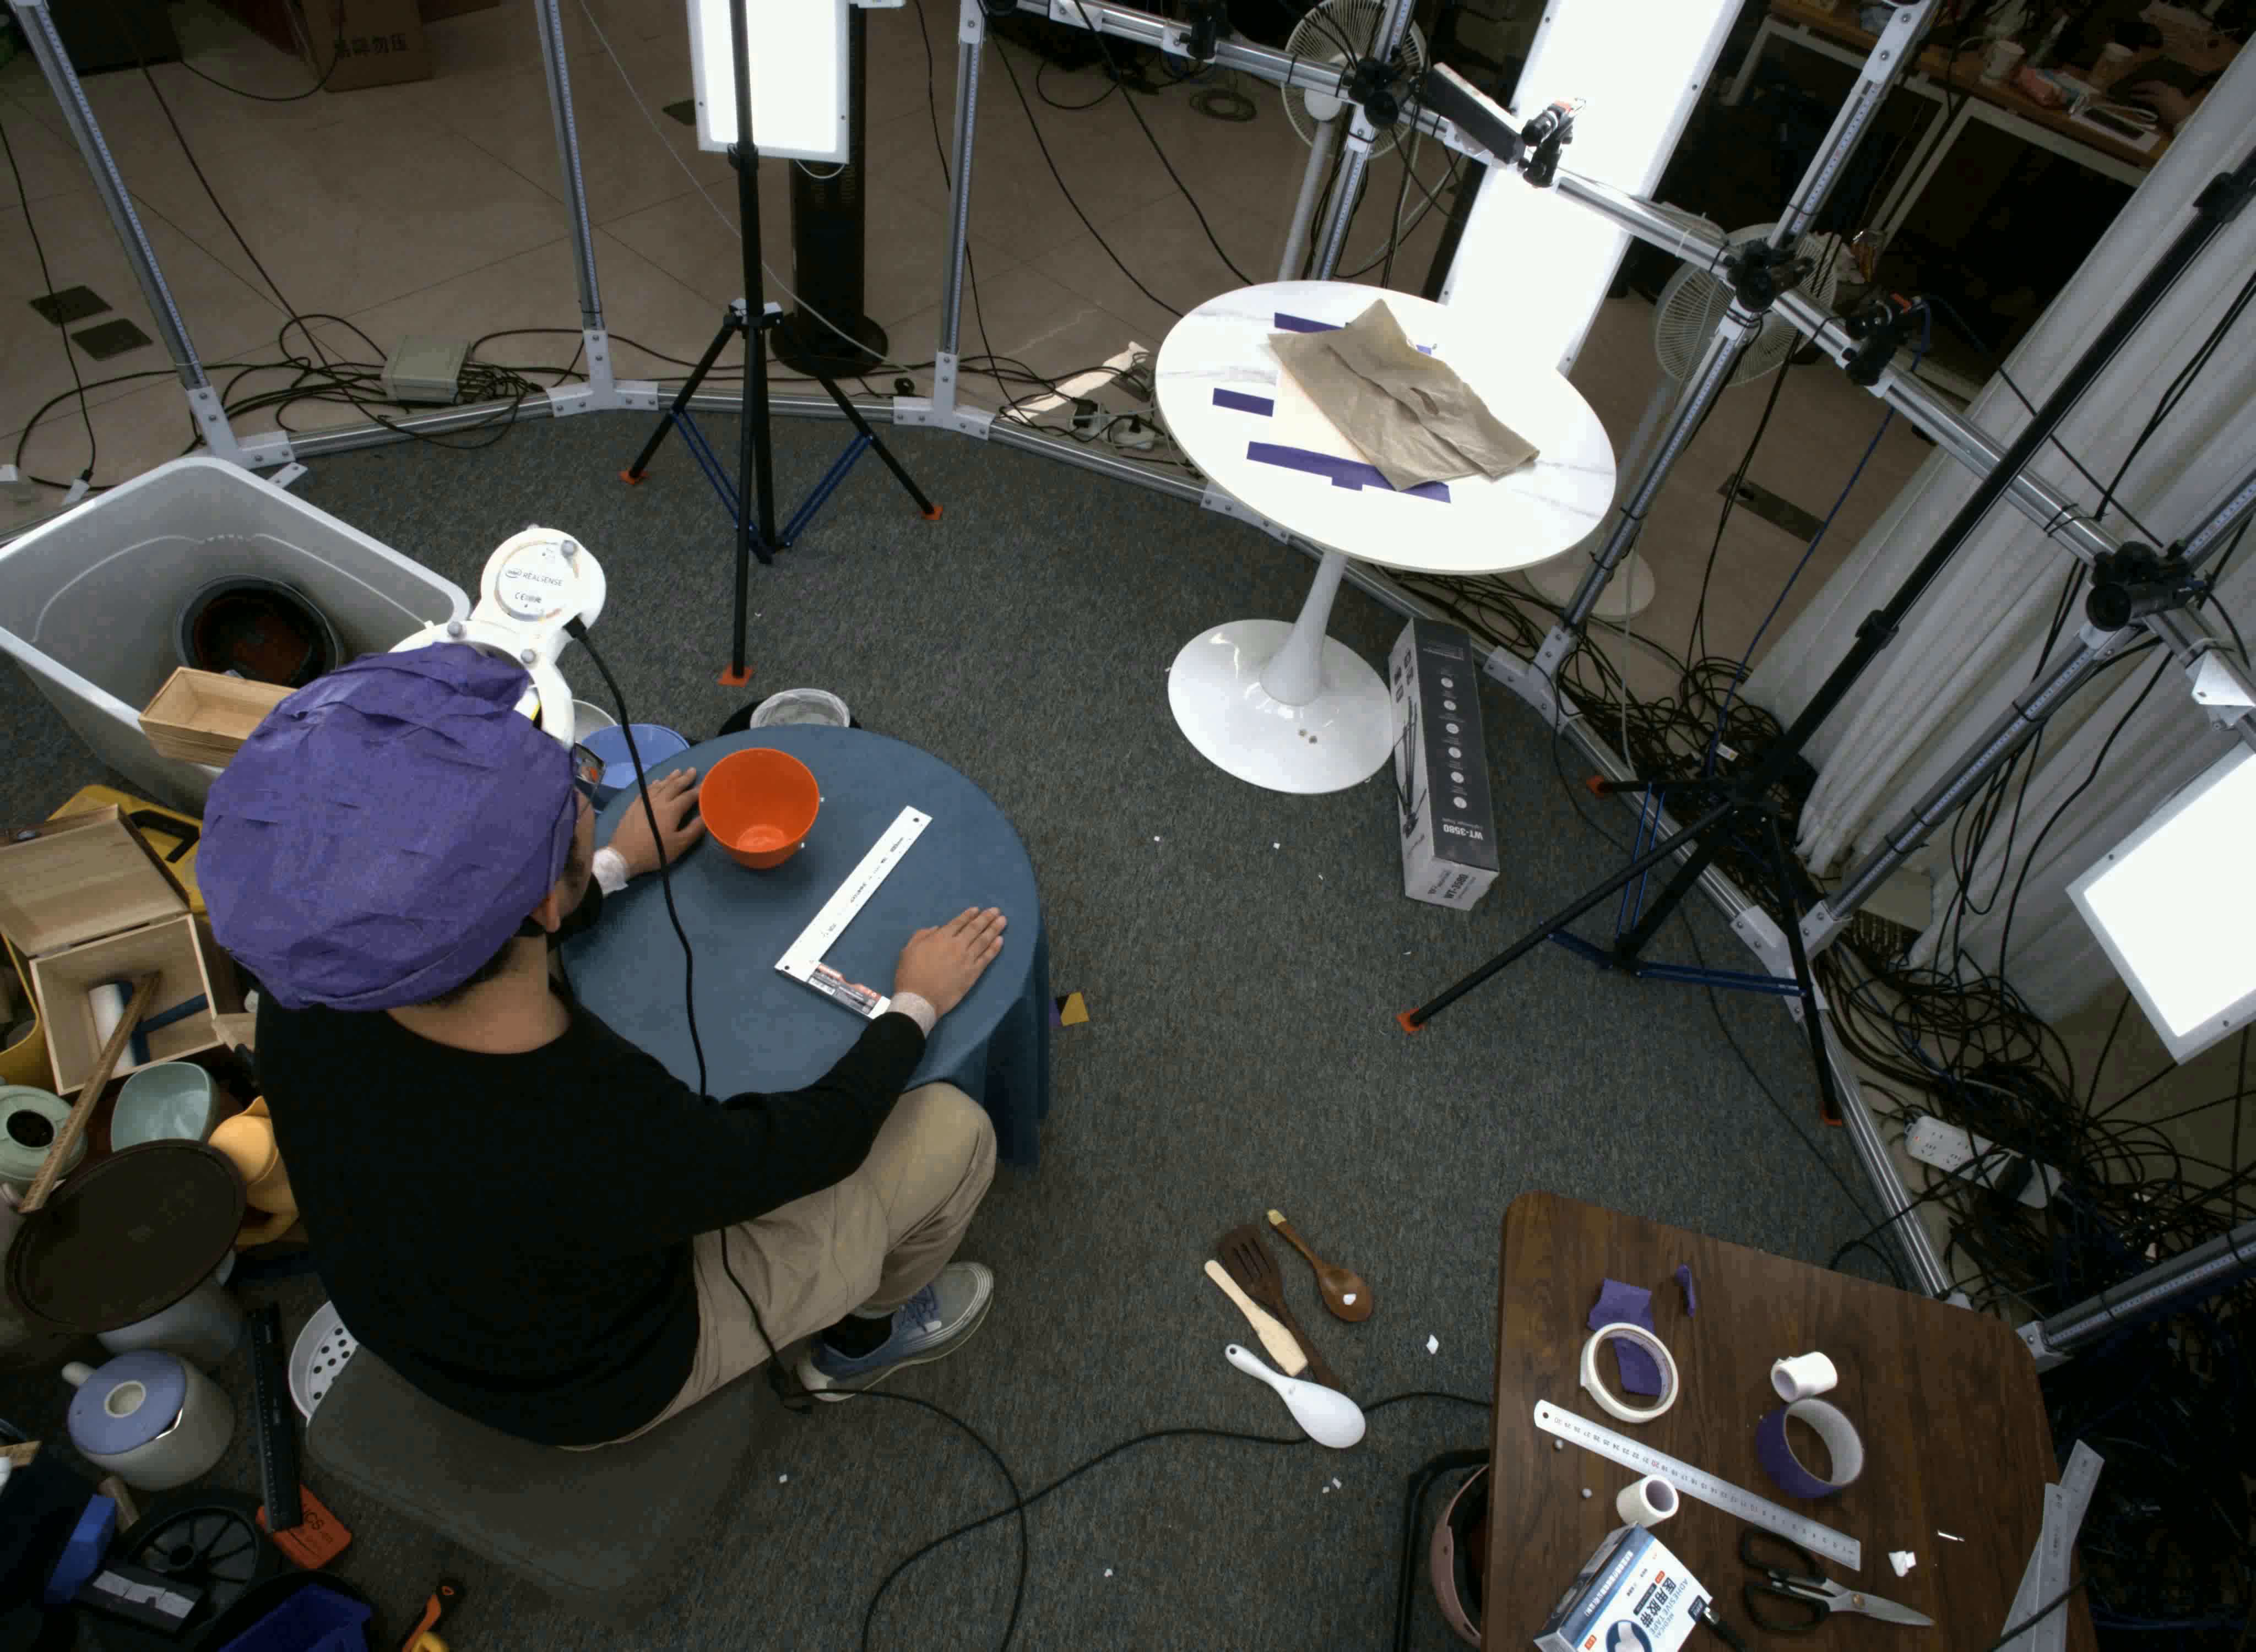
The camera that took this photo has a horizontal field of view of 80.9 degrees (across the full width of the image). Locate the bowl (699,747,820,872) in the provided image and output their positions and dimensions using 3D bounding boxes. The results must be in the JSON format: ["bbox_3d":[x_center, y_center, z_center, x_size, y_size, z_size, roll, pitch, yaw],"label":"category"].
[{"bbox_3d":[-0.468,-0.010,1.650,0.148,0.106,0.145,8,52,-9],"label":"bowl"}]

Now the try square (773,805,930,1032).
[{"bbox_3d":[-0.304,0.108,1.670,0.151,0.016,0.311,30,51,3],"label":"try square"}]
